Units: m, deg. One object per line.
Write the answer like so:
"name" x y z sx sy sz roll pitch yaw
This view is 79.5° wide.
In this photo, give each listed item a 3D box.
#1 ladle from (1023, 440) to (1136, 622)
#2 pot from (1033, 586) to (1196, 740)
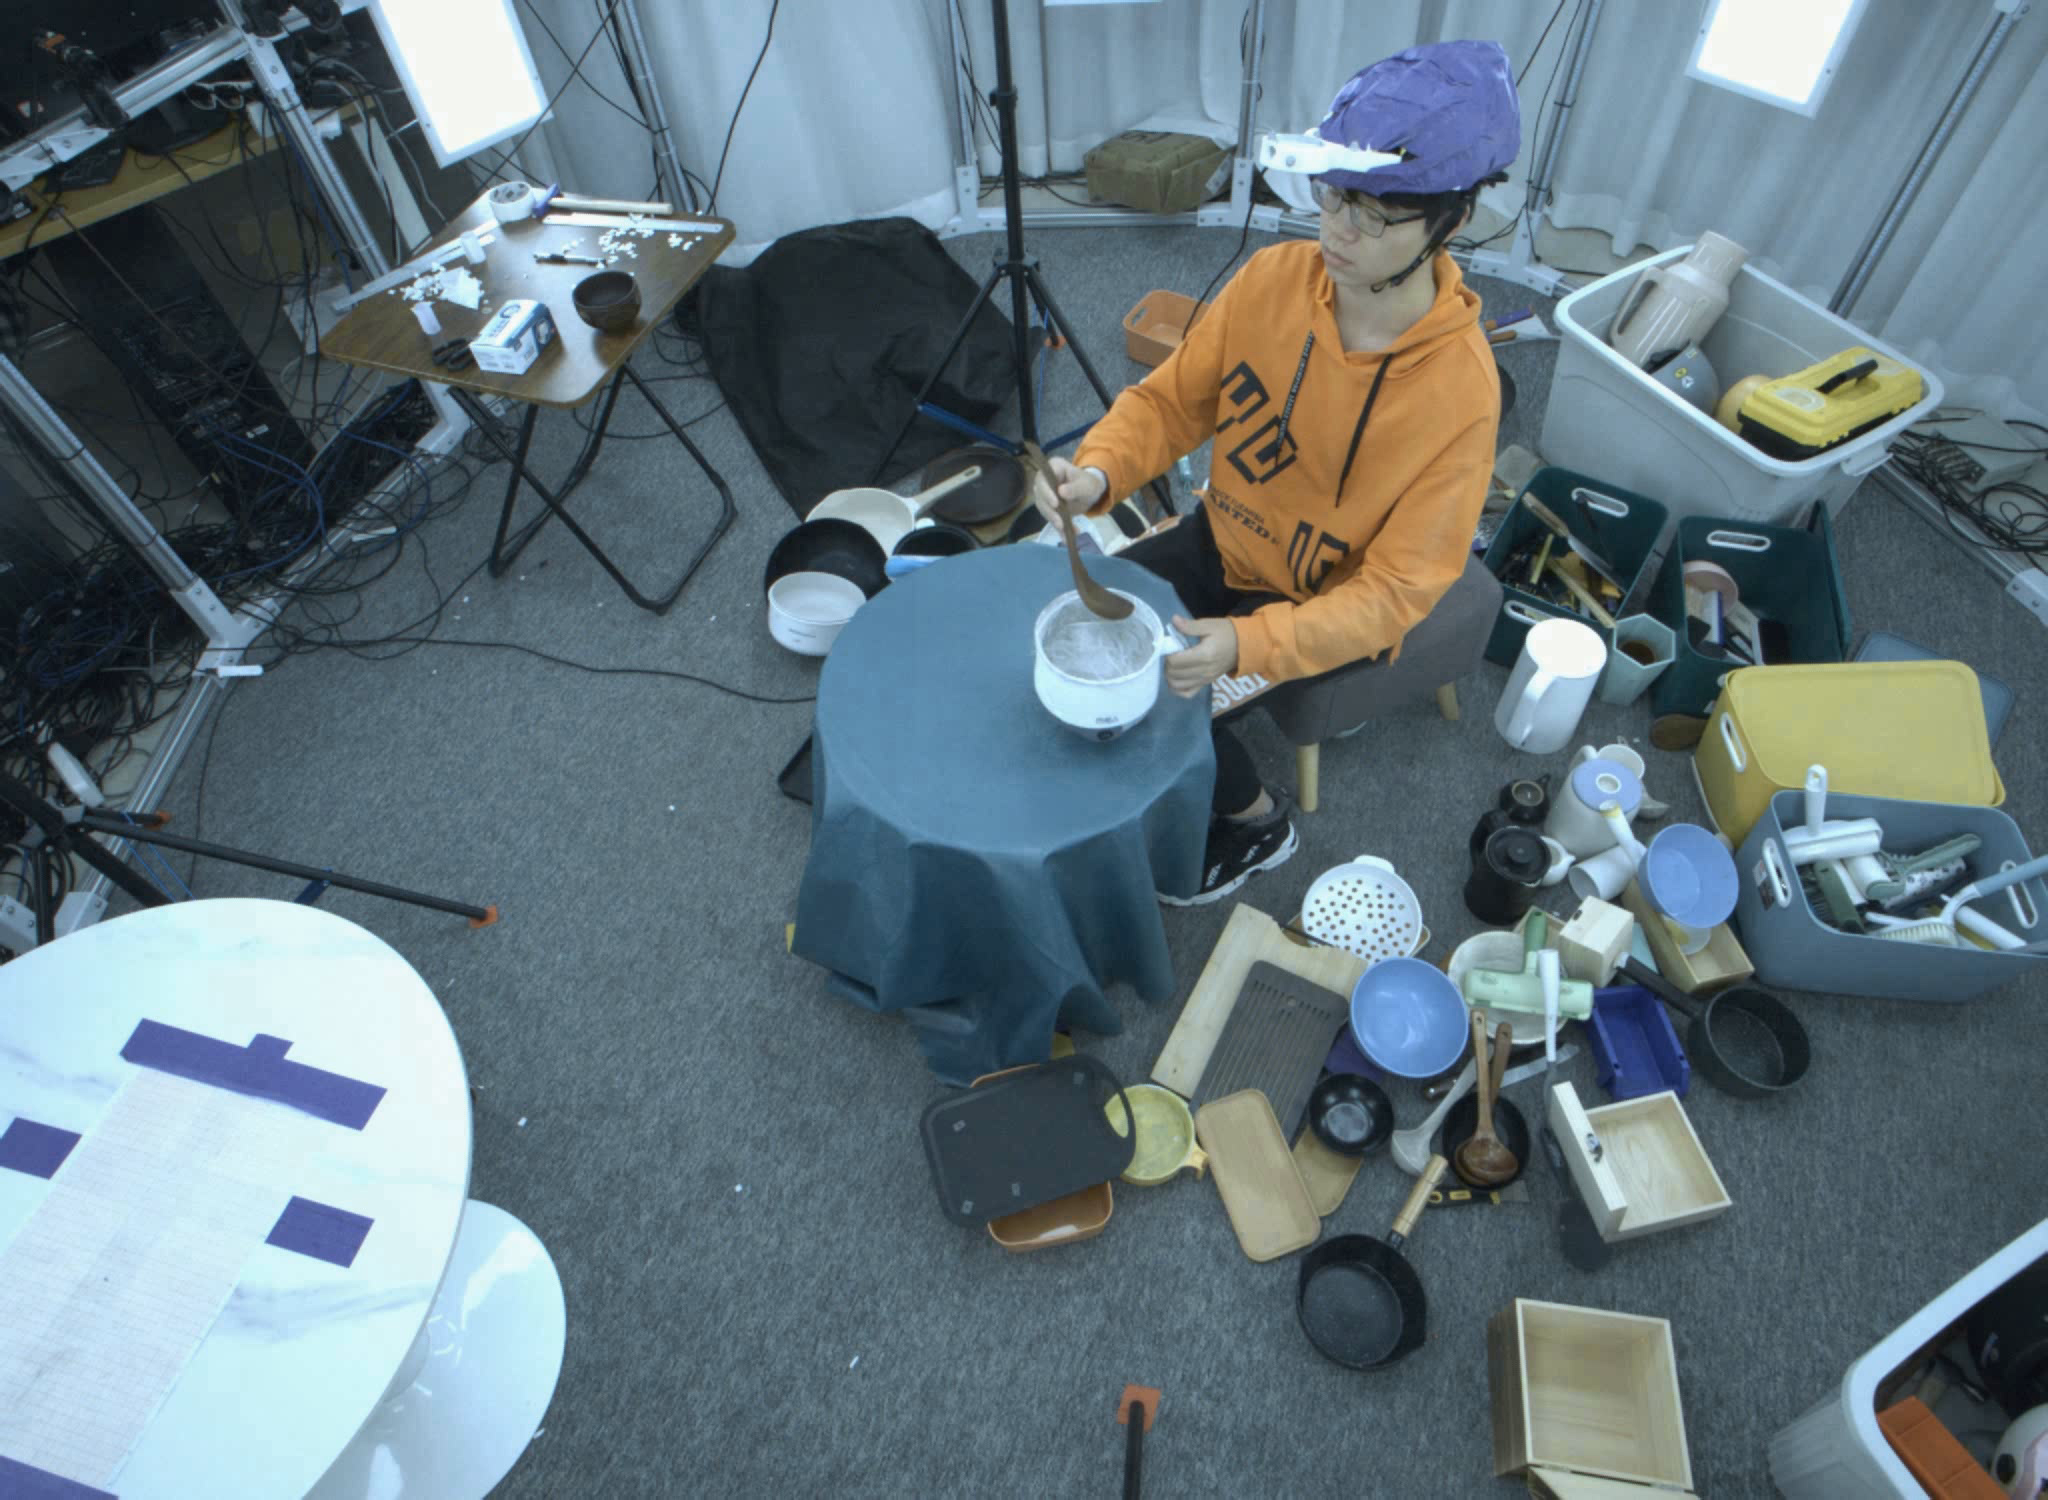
"ladle" 0.075 -0.300 1.649 0.070 0.275 0.076 -17 10 19
"pot" 0.129 -0.124 1.727 0.235 0.138 0.176 -7 56 -6
